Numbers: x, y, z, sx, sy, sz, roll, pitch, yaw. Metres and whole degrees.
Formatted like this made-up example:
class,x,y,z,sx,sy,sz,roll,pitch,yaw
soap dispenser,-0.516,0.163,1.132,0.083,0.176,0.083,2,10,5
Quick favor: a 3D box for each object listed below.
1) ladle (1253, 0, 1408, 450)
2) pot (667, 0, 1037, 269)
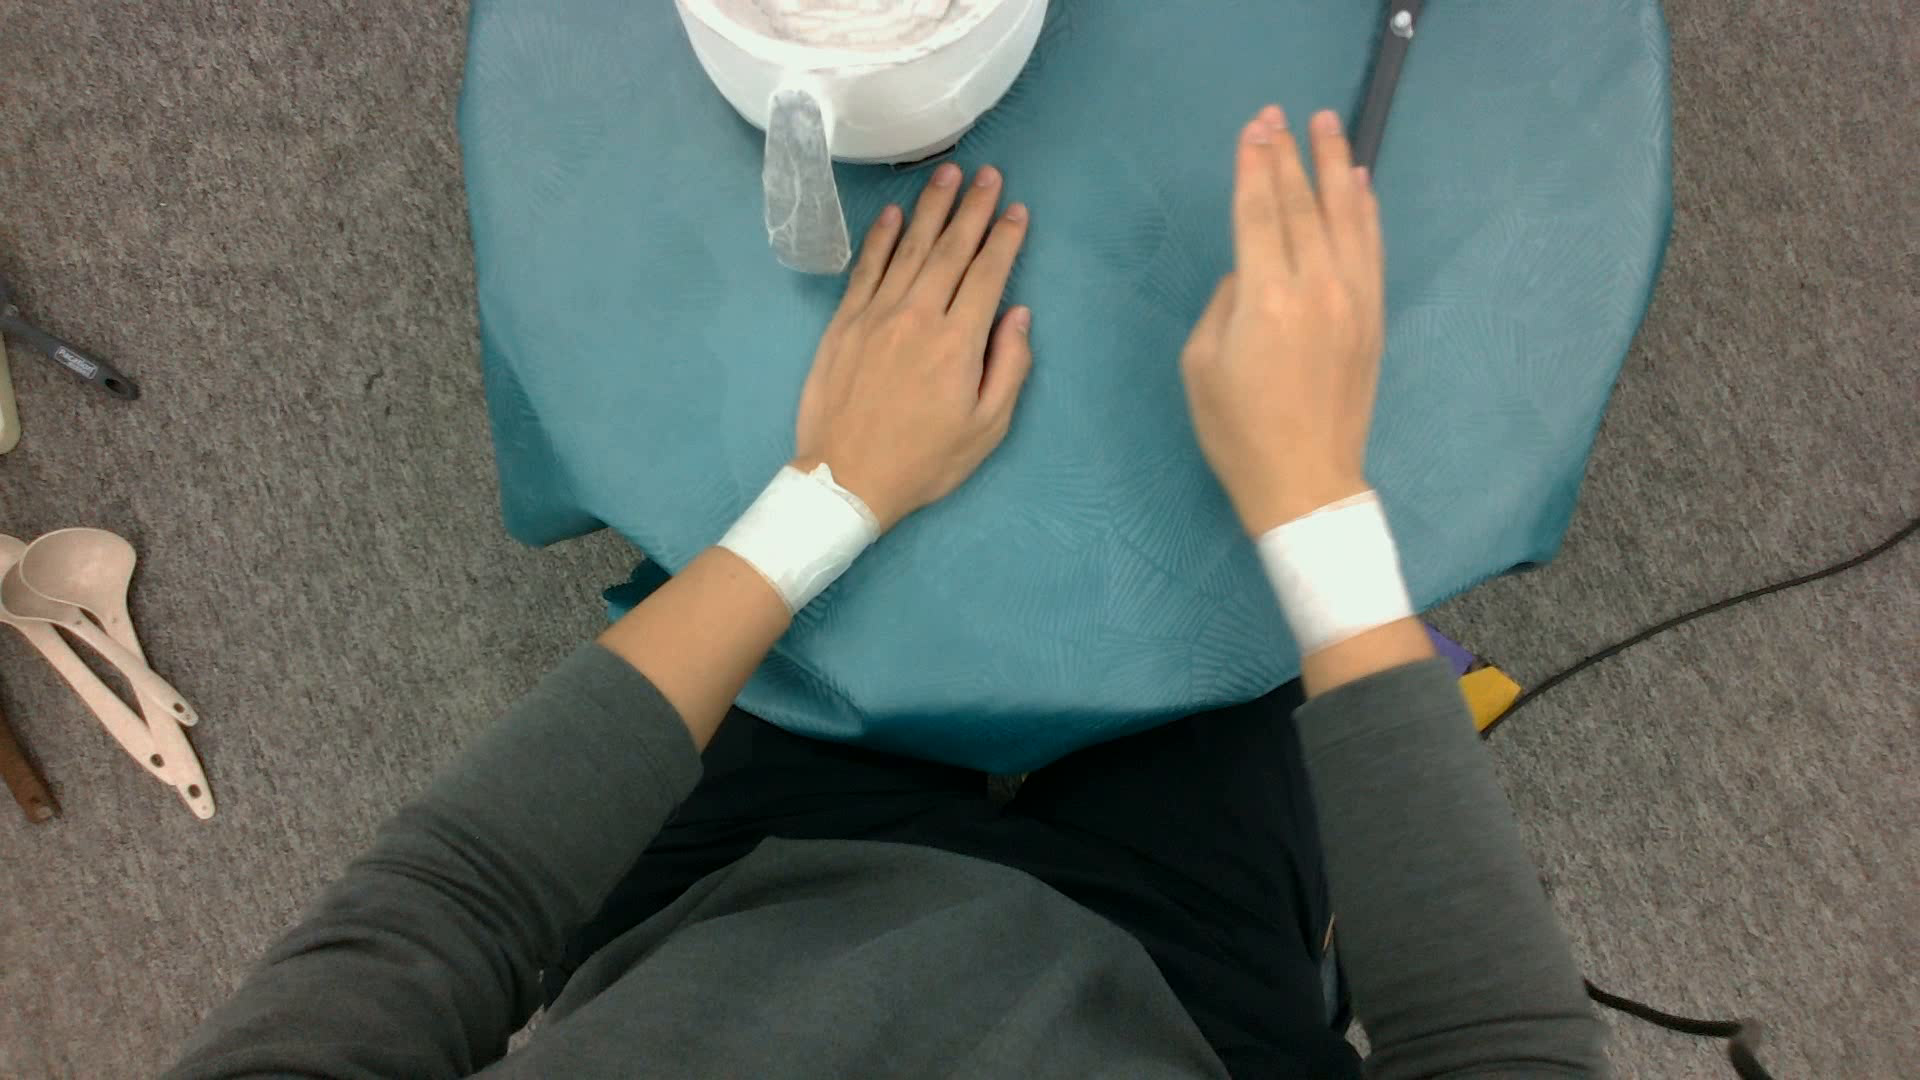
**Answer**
class,x,y,z,sx,sy,sz,roll,pitch,yaw
ladle,0.192,-0.195,0.653,0.086,0.064,0.314,17,87,4
pot,-0.055,-0.245,0.621,0.179,0.136,0.234,9,87,1
